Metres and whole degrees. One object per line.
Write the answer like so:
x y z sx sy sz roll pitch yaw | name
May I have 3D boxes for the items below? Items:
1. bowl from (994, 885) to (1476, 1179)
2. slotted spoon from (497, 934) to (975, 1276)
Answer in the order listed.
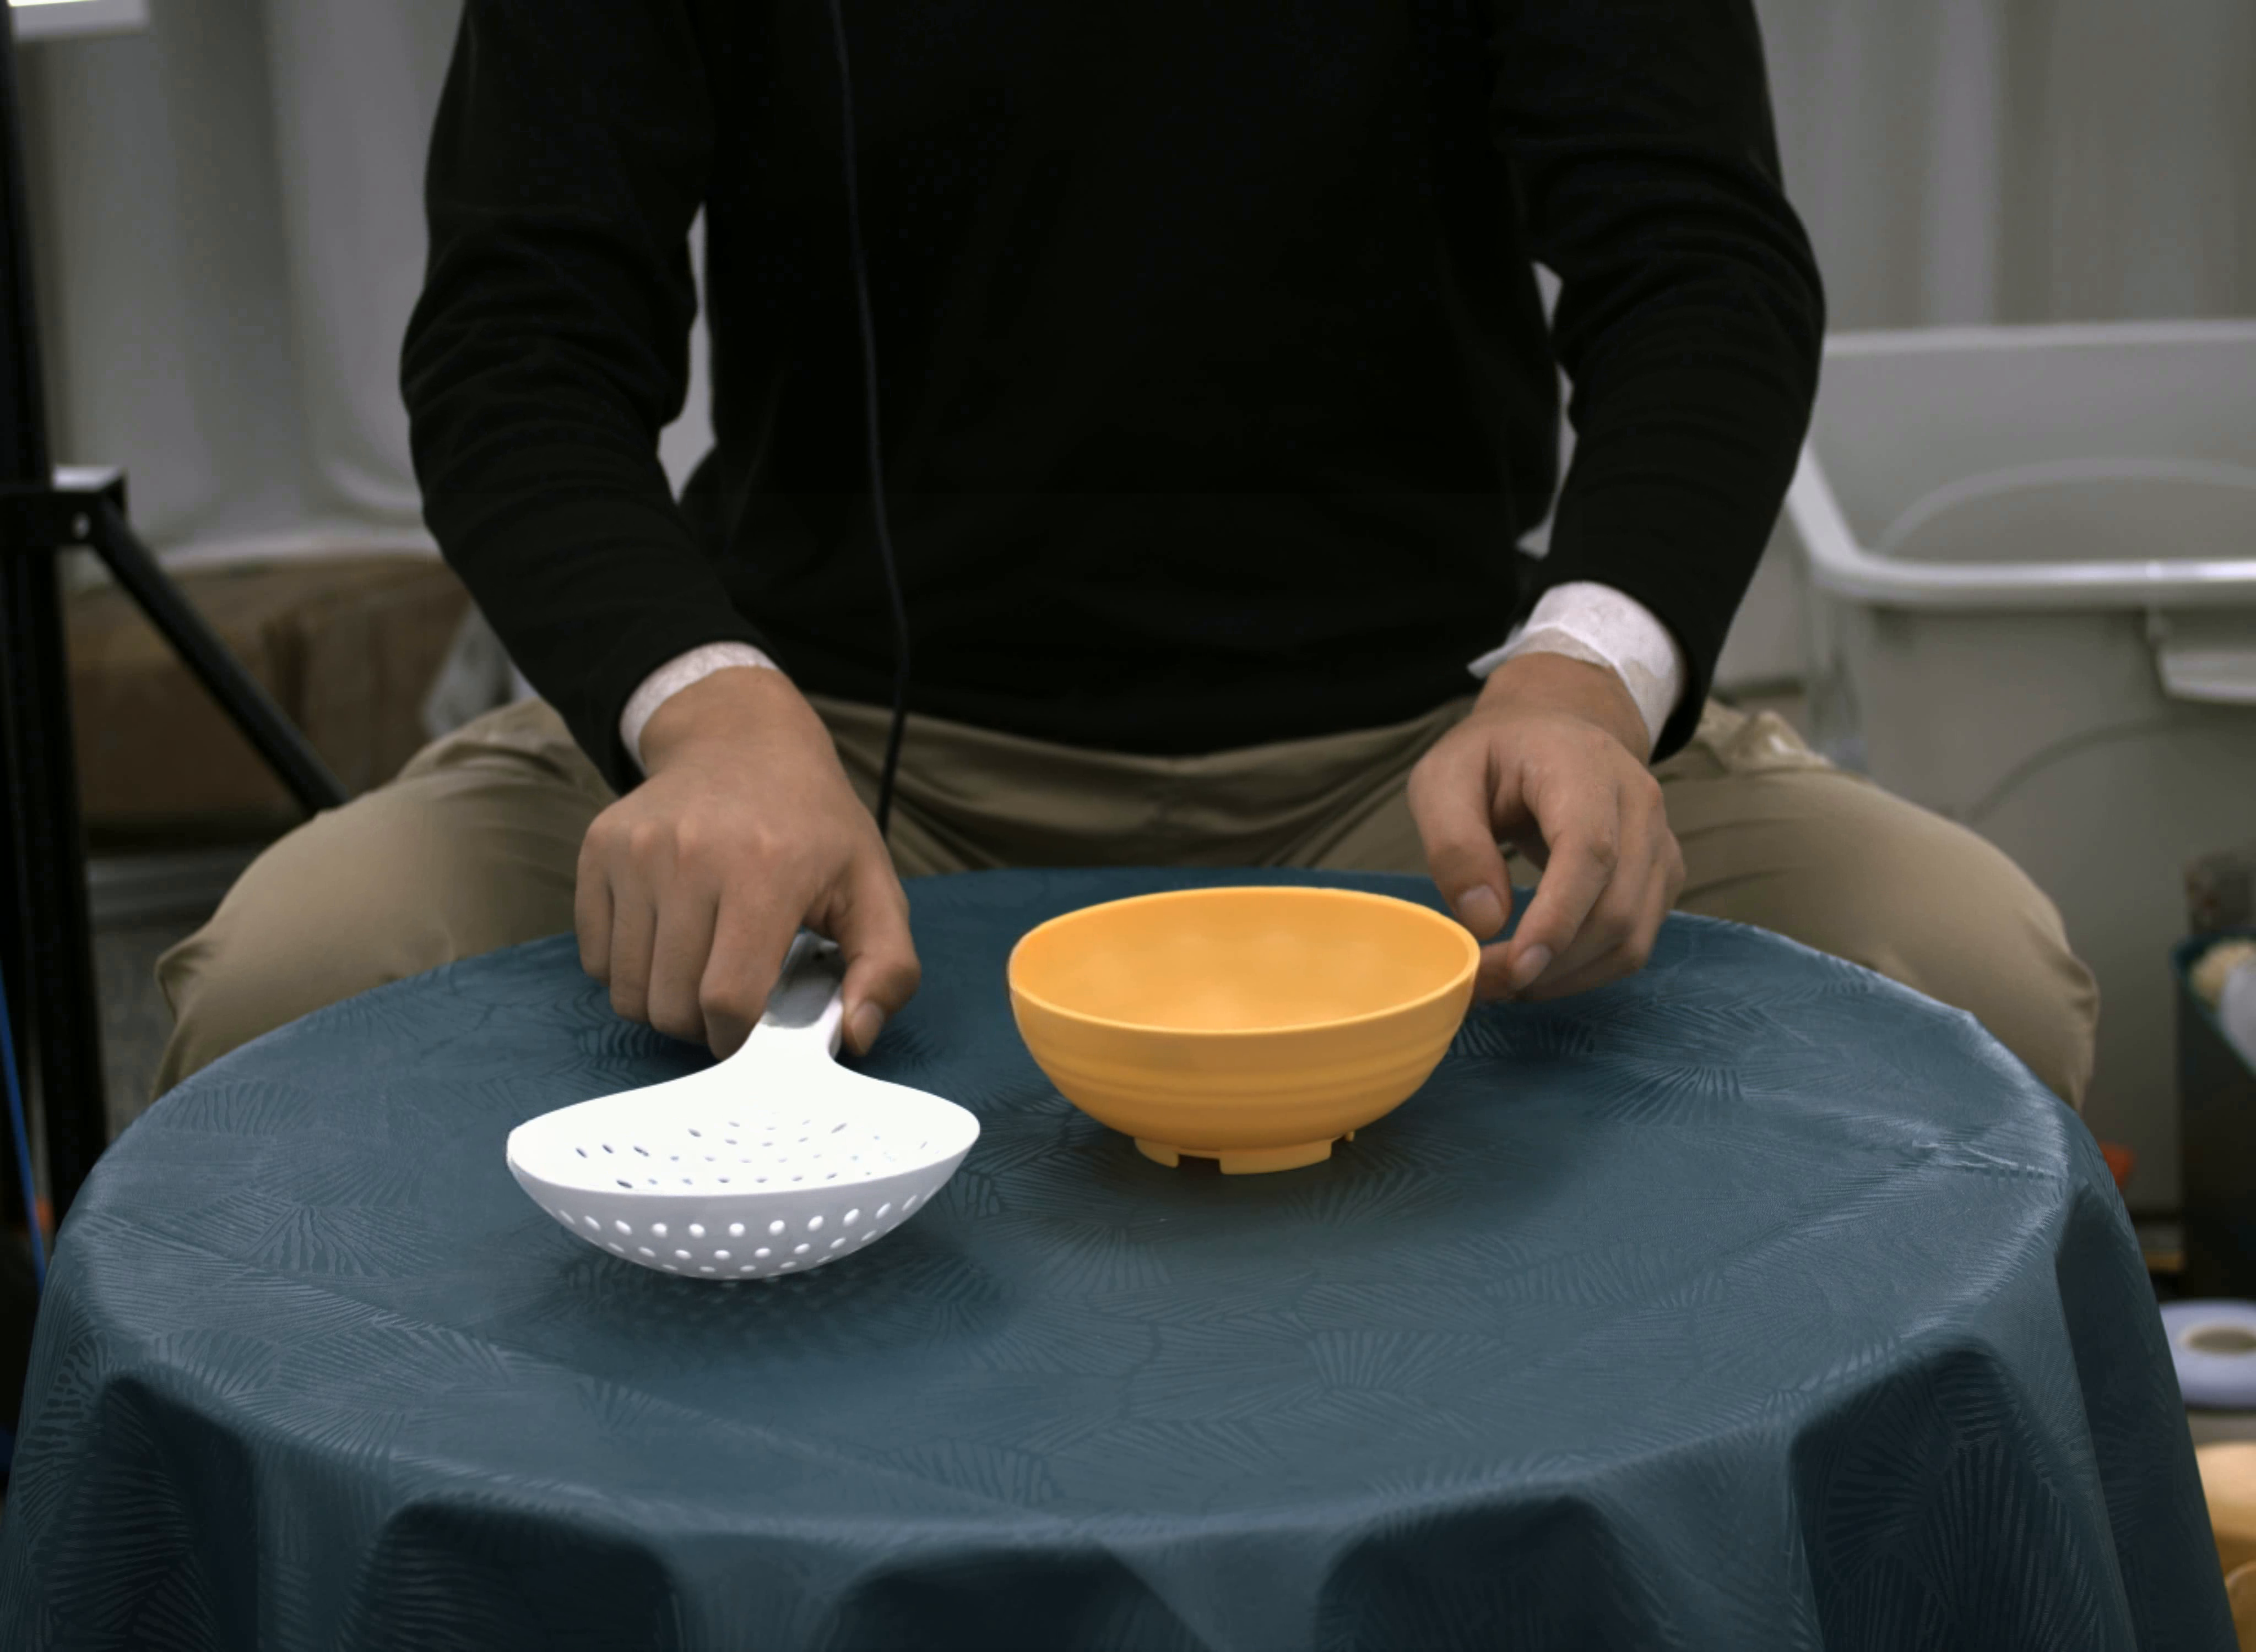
0.032 0.067 1.592 0.144 0.060 0.146 -1 16 -1 | bowl
-0.106 0.075 1.609 0.136 0.046 0.350 -2 15 3 | slotted spoon
